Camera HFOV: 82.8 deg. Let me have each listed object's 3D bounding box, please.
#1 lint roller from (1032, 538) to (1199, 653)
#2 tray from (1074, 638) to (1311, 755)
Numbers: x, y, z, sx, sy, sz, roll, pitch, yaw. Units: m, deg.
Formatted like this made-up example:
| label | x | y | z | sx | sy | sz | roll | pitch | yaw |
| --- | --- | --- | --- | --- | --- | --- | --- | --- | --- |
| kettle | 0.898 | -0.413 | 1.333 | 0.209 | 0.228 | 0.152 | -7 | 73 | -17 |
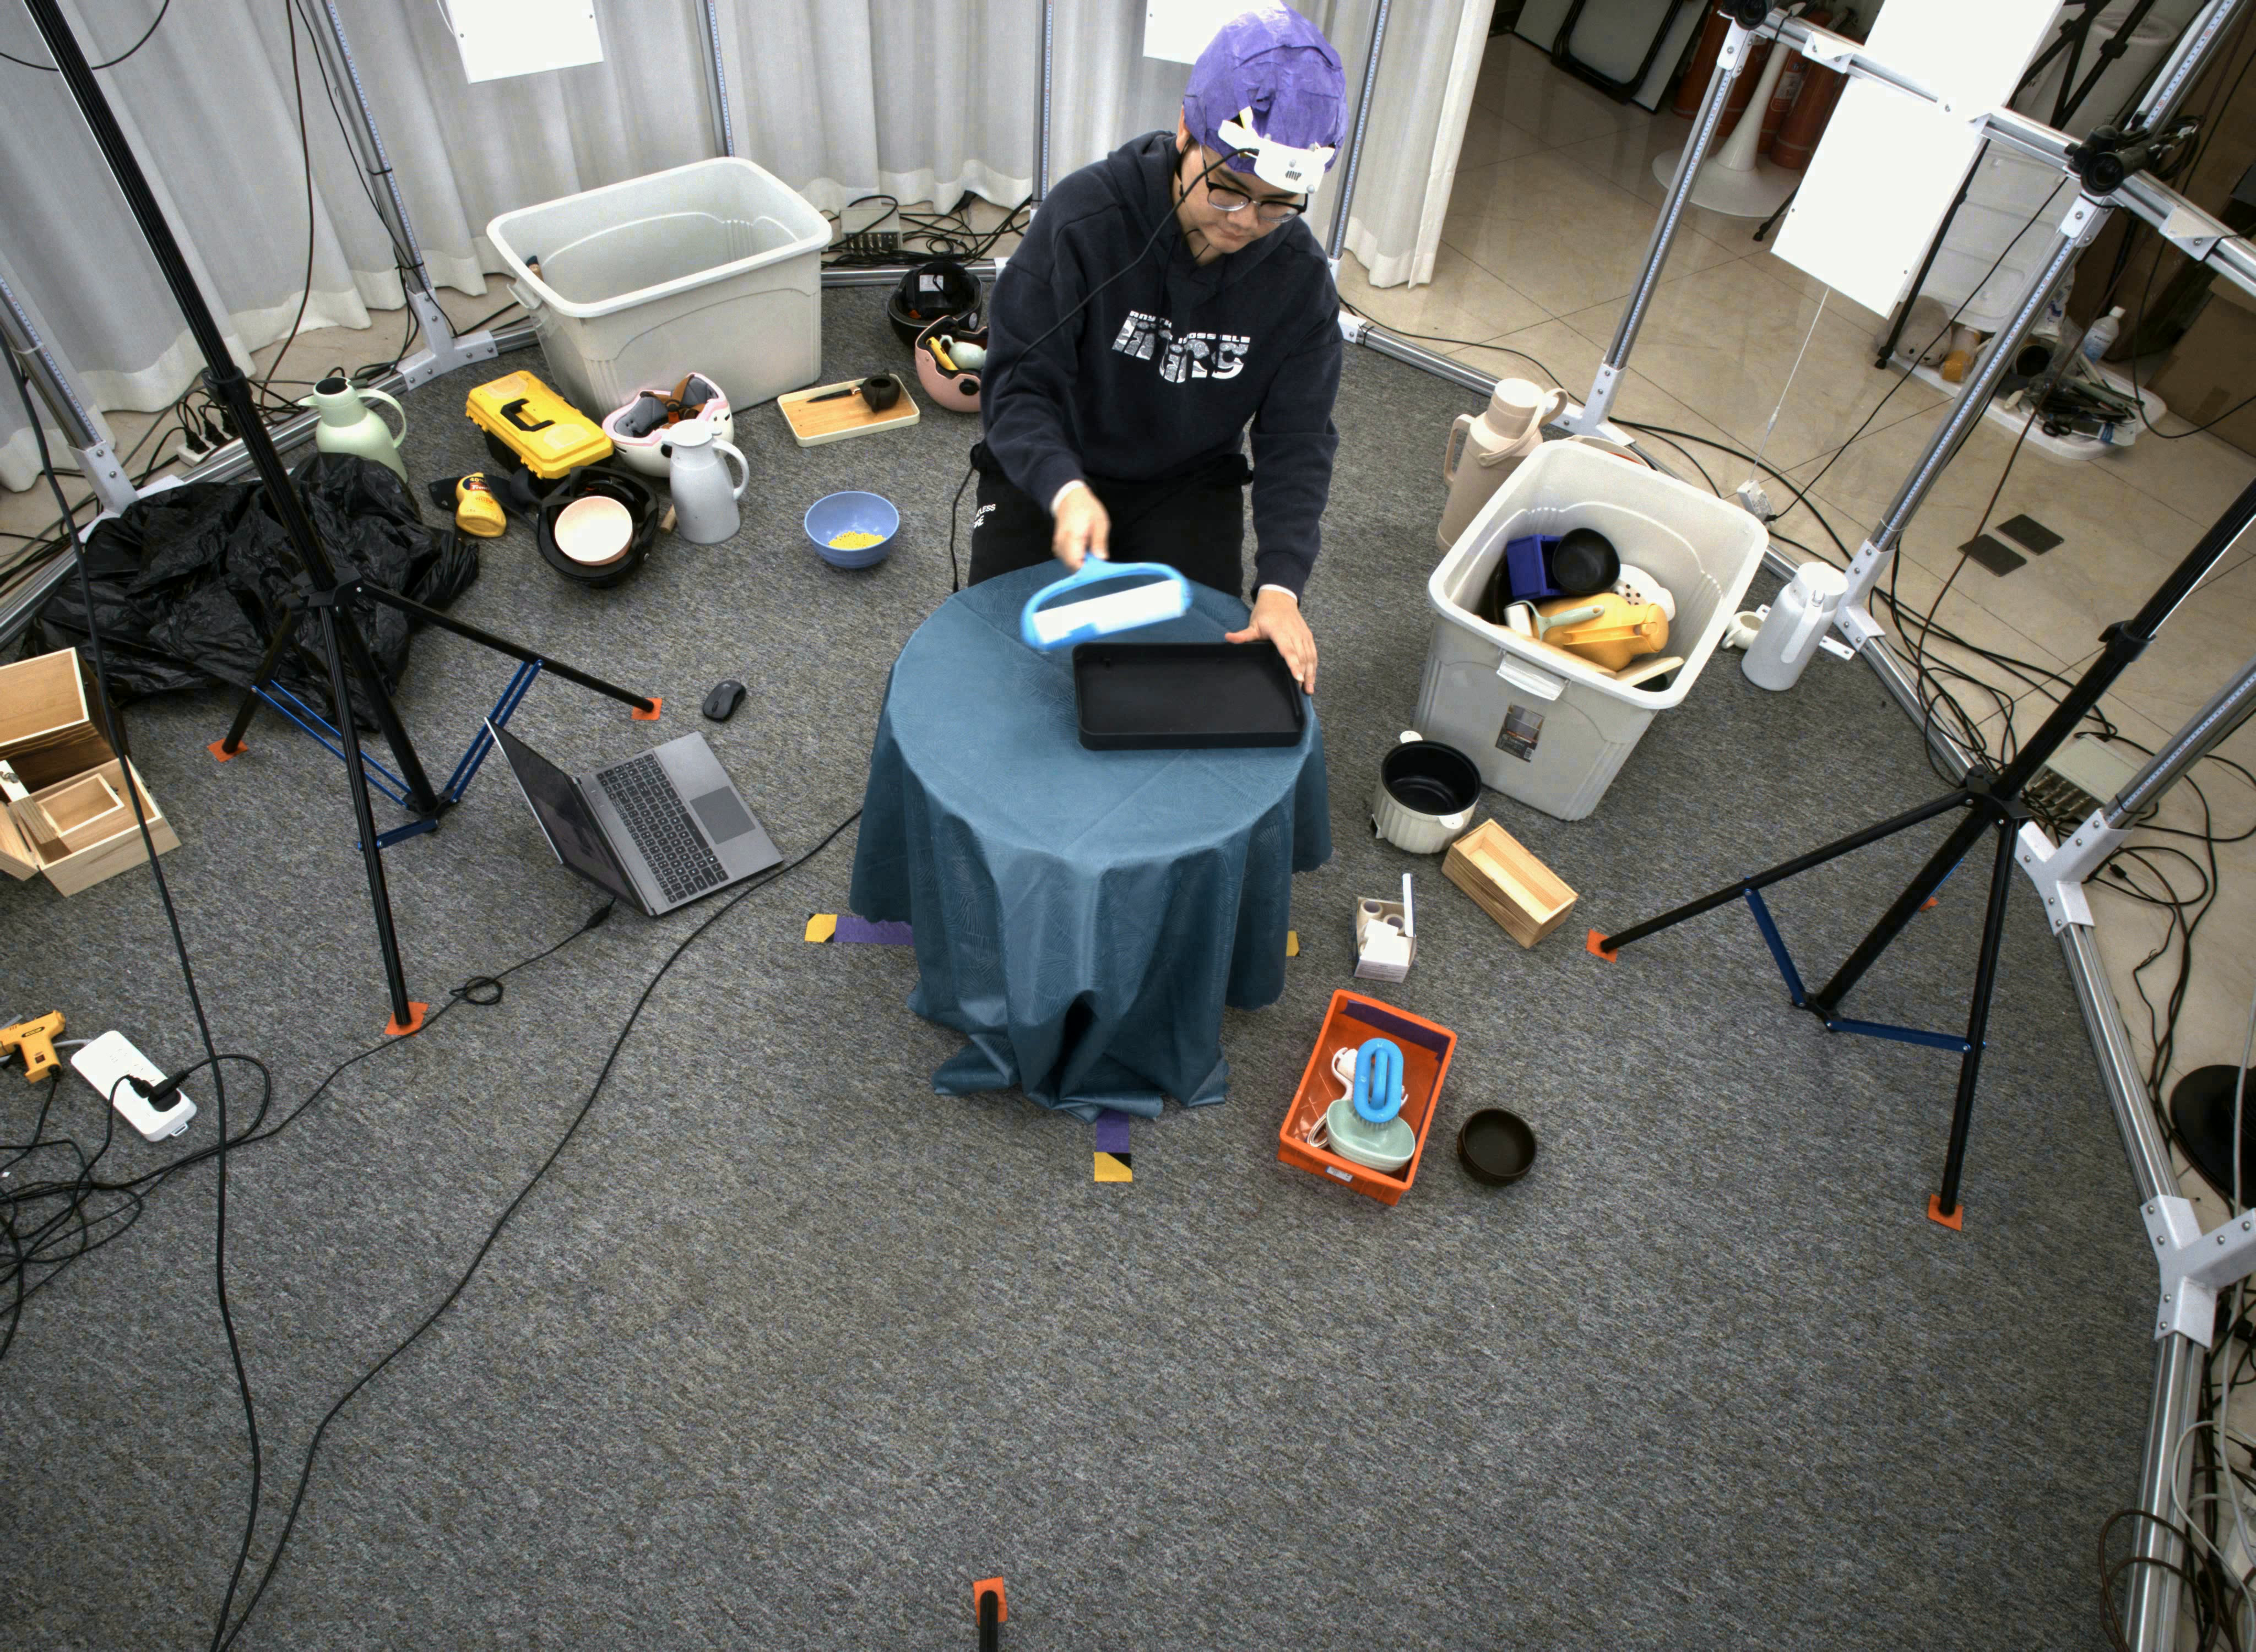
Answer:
| label | x | y | z | sx | sy | sz | roll | pitch | yaw |
| --- | --- | --- | --- | --- | --- | --- | --- | --- | --- |
| lint roller | -0.034 | -0.334 | 1.744 | 0.229 | 0.066 | 0.184 | -18 | 63 | -3 |
| tray | 0.087 | -0.185 | 1.813 | 0.317 | 0.036 | 0.189 | -3 | 49 | -5 |
